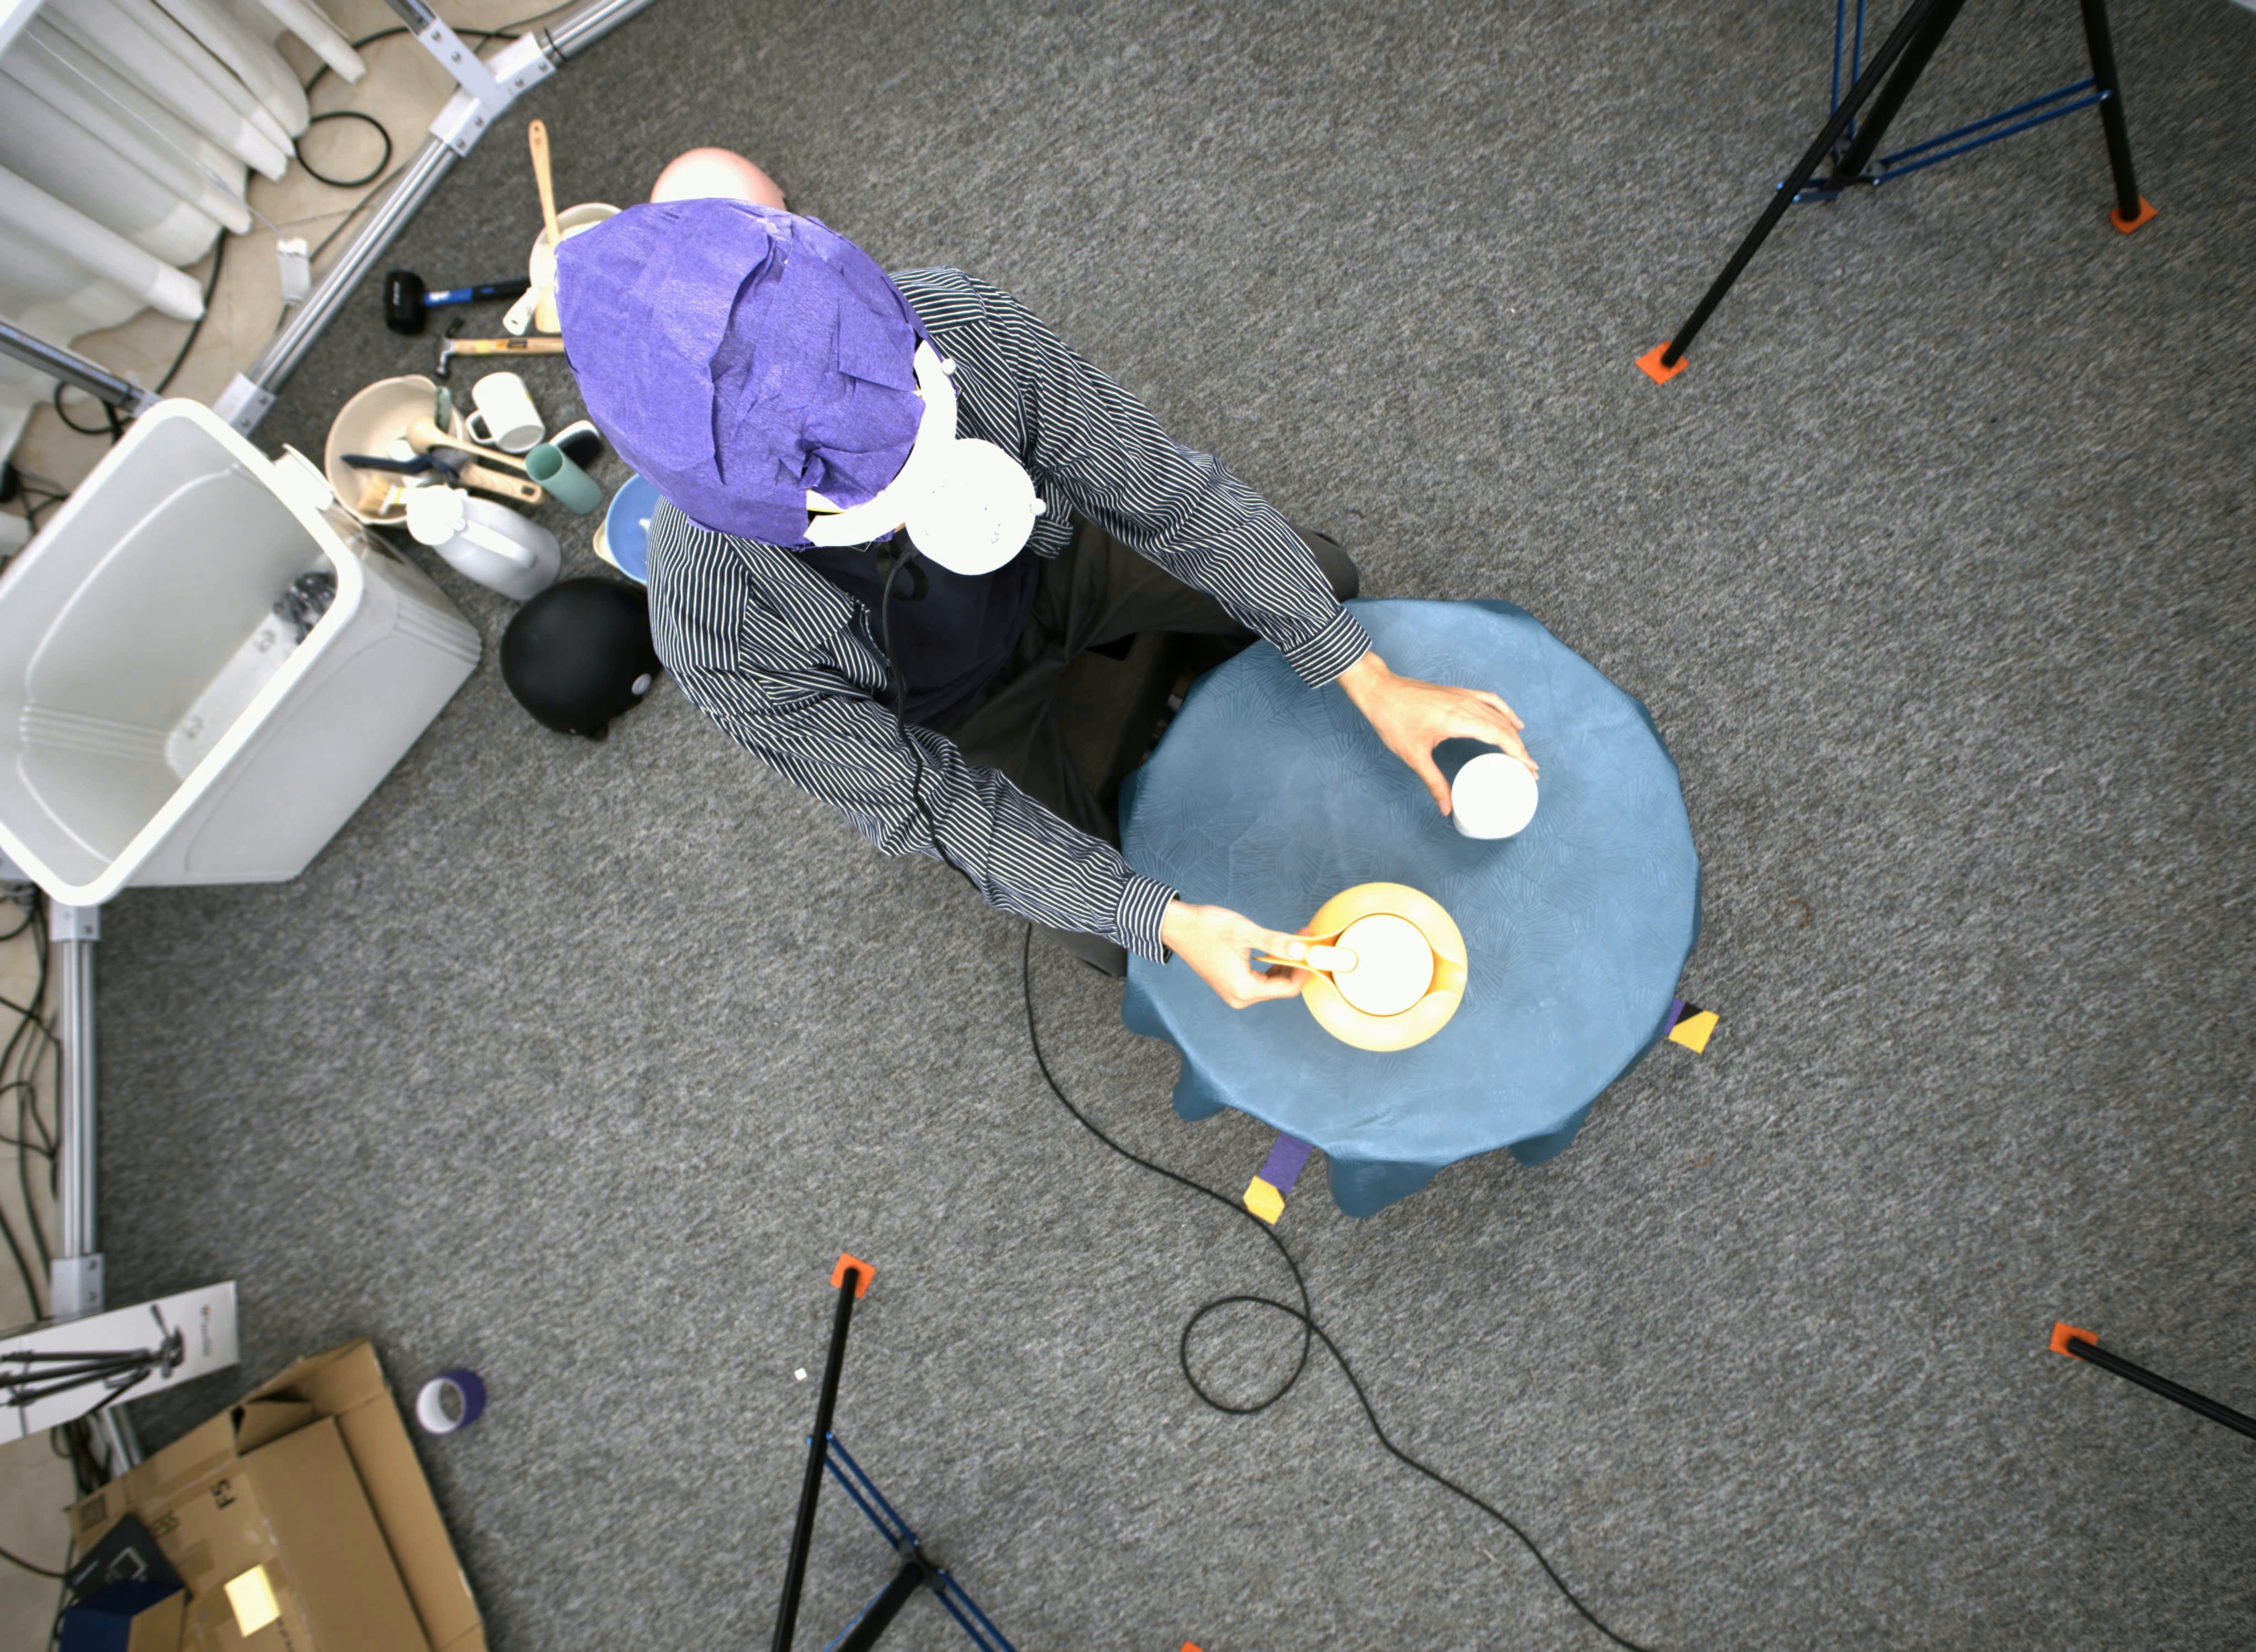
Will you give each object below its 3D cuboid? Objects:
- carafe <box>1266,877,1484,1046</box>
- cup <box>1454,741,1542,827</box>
[{"bbox_3d":[0.236,0.124,1.321,0.203,0.261,0.163,6,86,10],"label":"carafe"},{"bbox_3d":[0.364,-0.039,1.370,0.082,0.125,0.081,0,87,10],"label":"cup"}]
